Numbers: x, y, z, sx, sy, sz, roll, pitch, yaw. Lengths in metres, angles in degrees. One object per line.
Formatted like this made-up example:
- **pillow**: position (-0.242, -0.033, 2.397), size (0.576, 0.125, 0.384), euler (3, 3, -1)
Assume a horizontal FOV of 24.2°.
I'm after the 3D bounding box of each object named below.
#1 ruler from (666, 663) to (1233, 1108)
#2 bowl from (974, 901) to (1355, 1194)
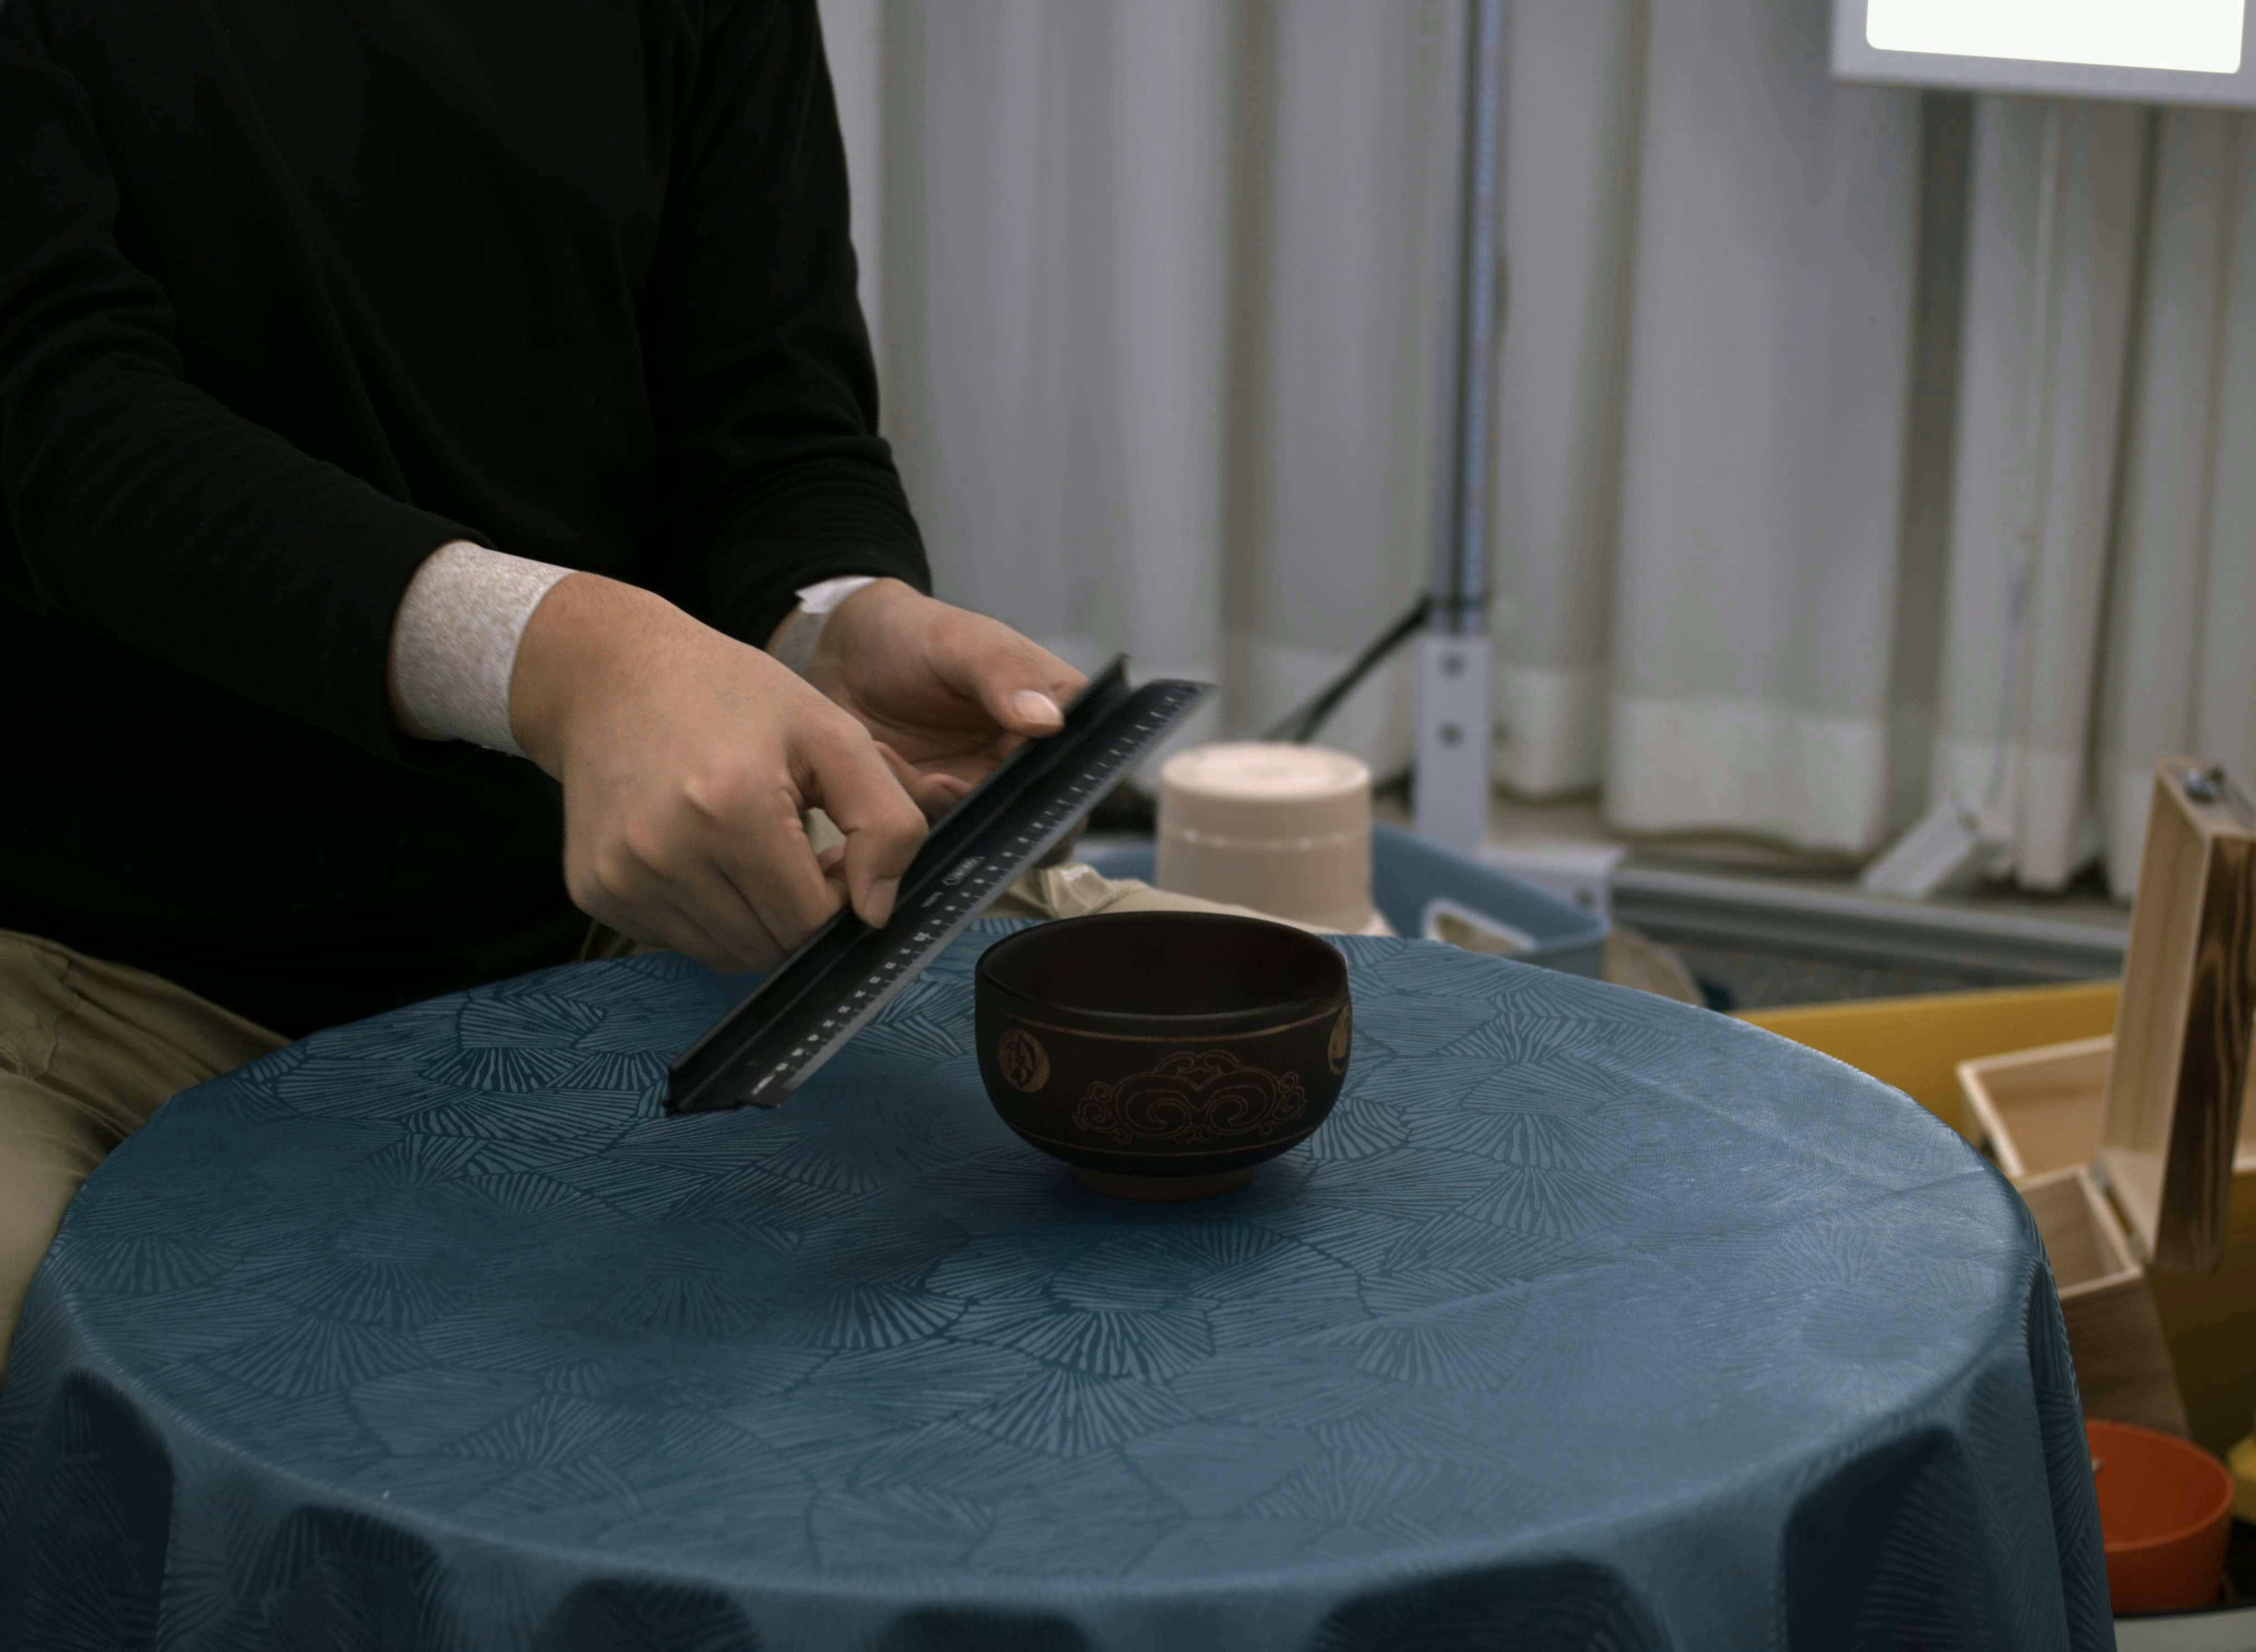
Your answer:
- **ruler**: position (-0.049, 0.012, 1.586), size (0.039, 0.017, 0.312), euler (-1, 22, 28)
- **bowl**: position (0.011, 0.072, 1.628), size (0.117, 0.070, 0.117), euler (1, 16, 0)
